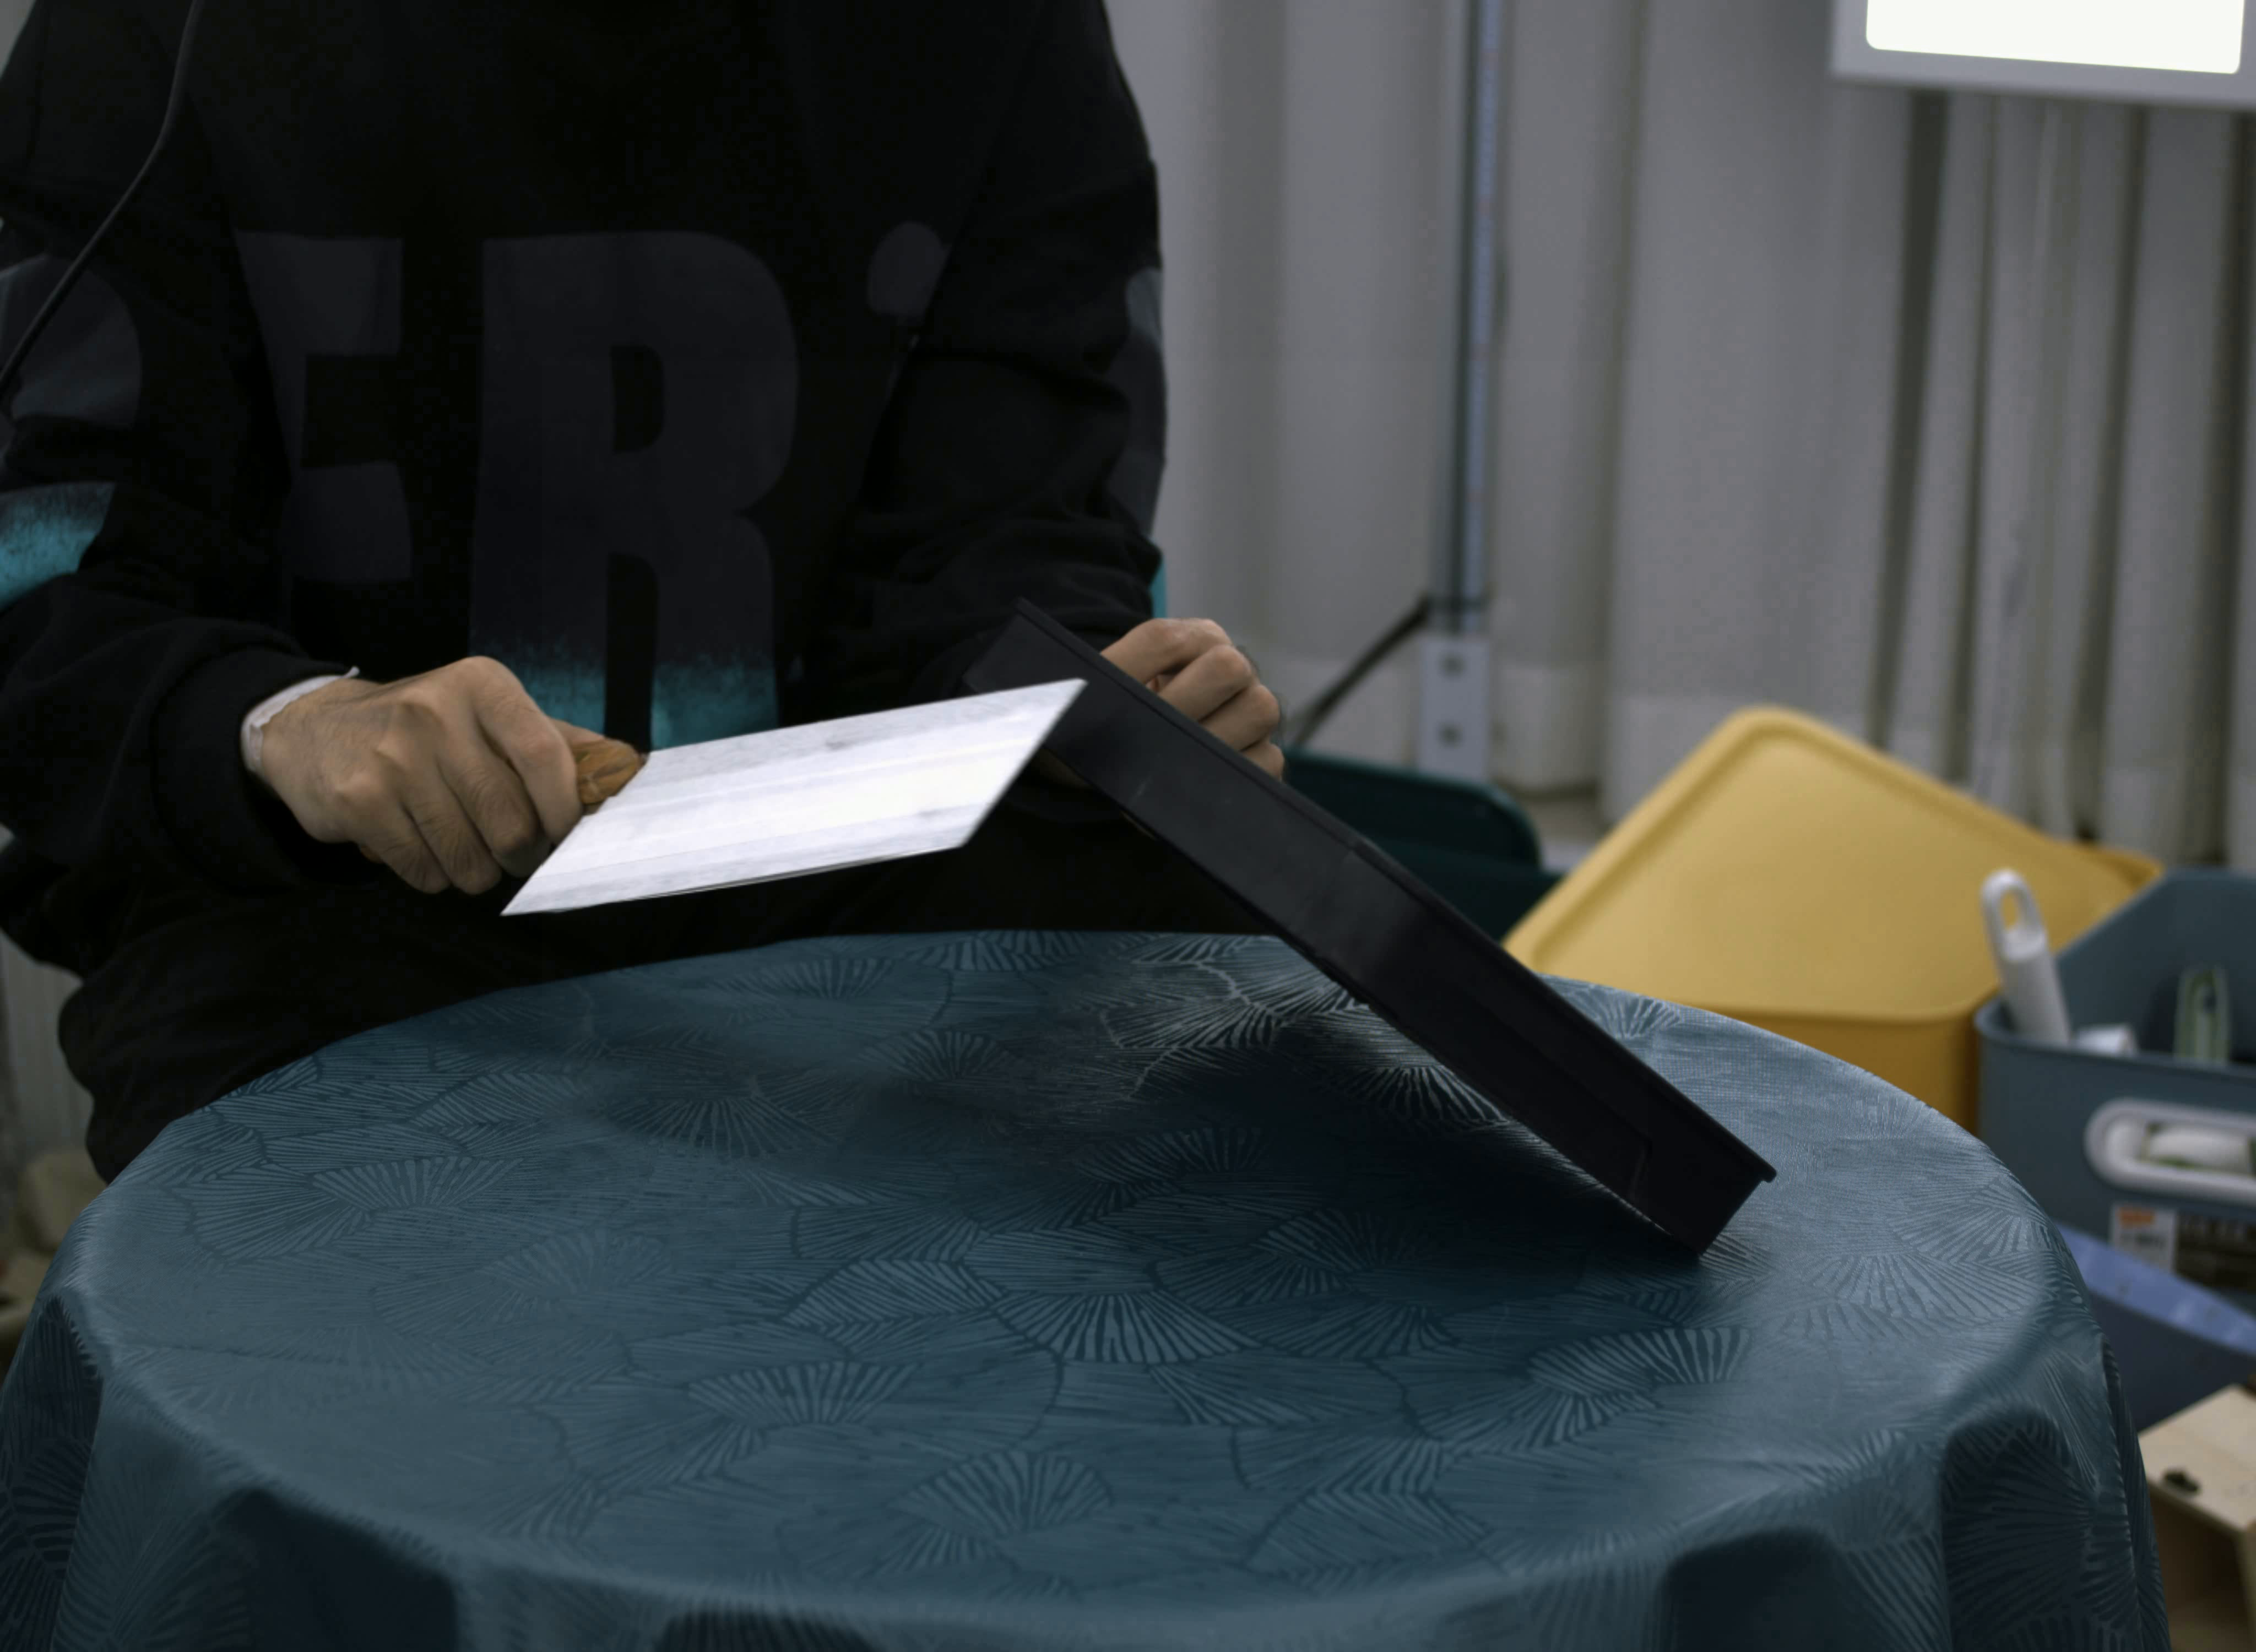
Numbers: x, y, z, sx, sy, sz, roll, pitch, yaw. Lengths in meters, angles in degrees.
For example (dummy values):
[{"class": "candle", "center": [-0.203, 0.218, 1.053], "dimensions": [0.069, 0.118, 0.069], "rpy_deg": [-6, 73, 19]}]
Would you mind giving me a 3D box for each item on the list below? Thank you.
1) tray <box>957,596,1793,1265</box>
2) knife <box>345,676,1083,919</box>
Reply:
[{"class": "tray", "center": [0.070, 0.028, 1.646], "dimensions": [0.186, 0.037, 0.314], "rpy_deg": [38, 0, -30]}, {"class": "knife", "center": [-0.150, -0.003, 1.701], "dimensions": [0.303, 0.021, 0.092], "rpy_deg": [-9, 32, 35]}]
